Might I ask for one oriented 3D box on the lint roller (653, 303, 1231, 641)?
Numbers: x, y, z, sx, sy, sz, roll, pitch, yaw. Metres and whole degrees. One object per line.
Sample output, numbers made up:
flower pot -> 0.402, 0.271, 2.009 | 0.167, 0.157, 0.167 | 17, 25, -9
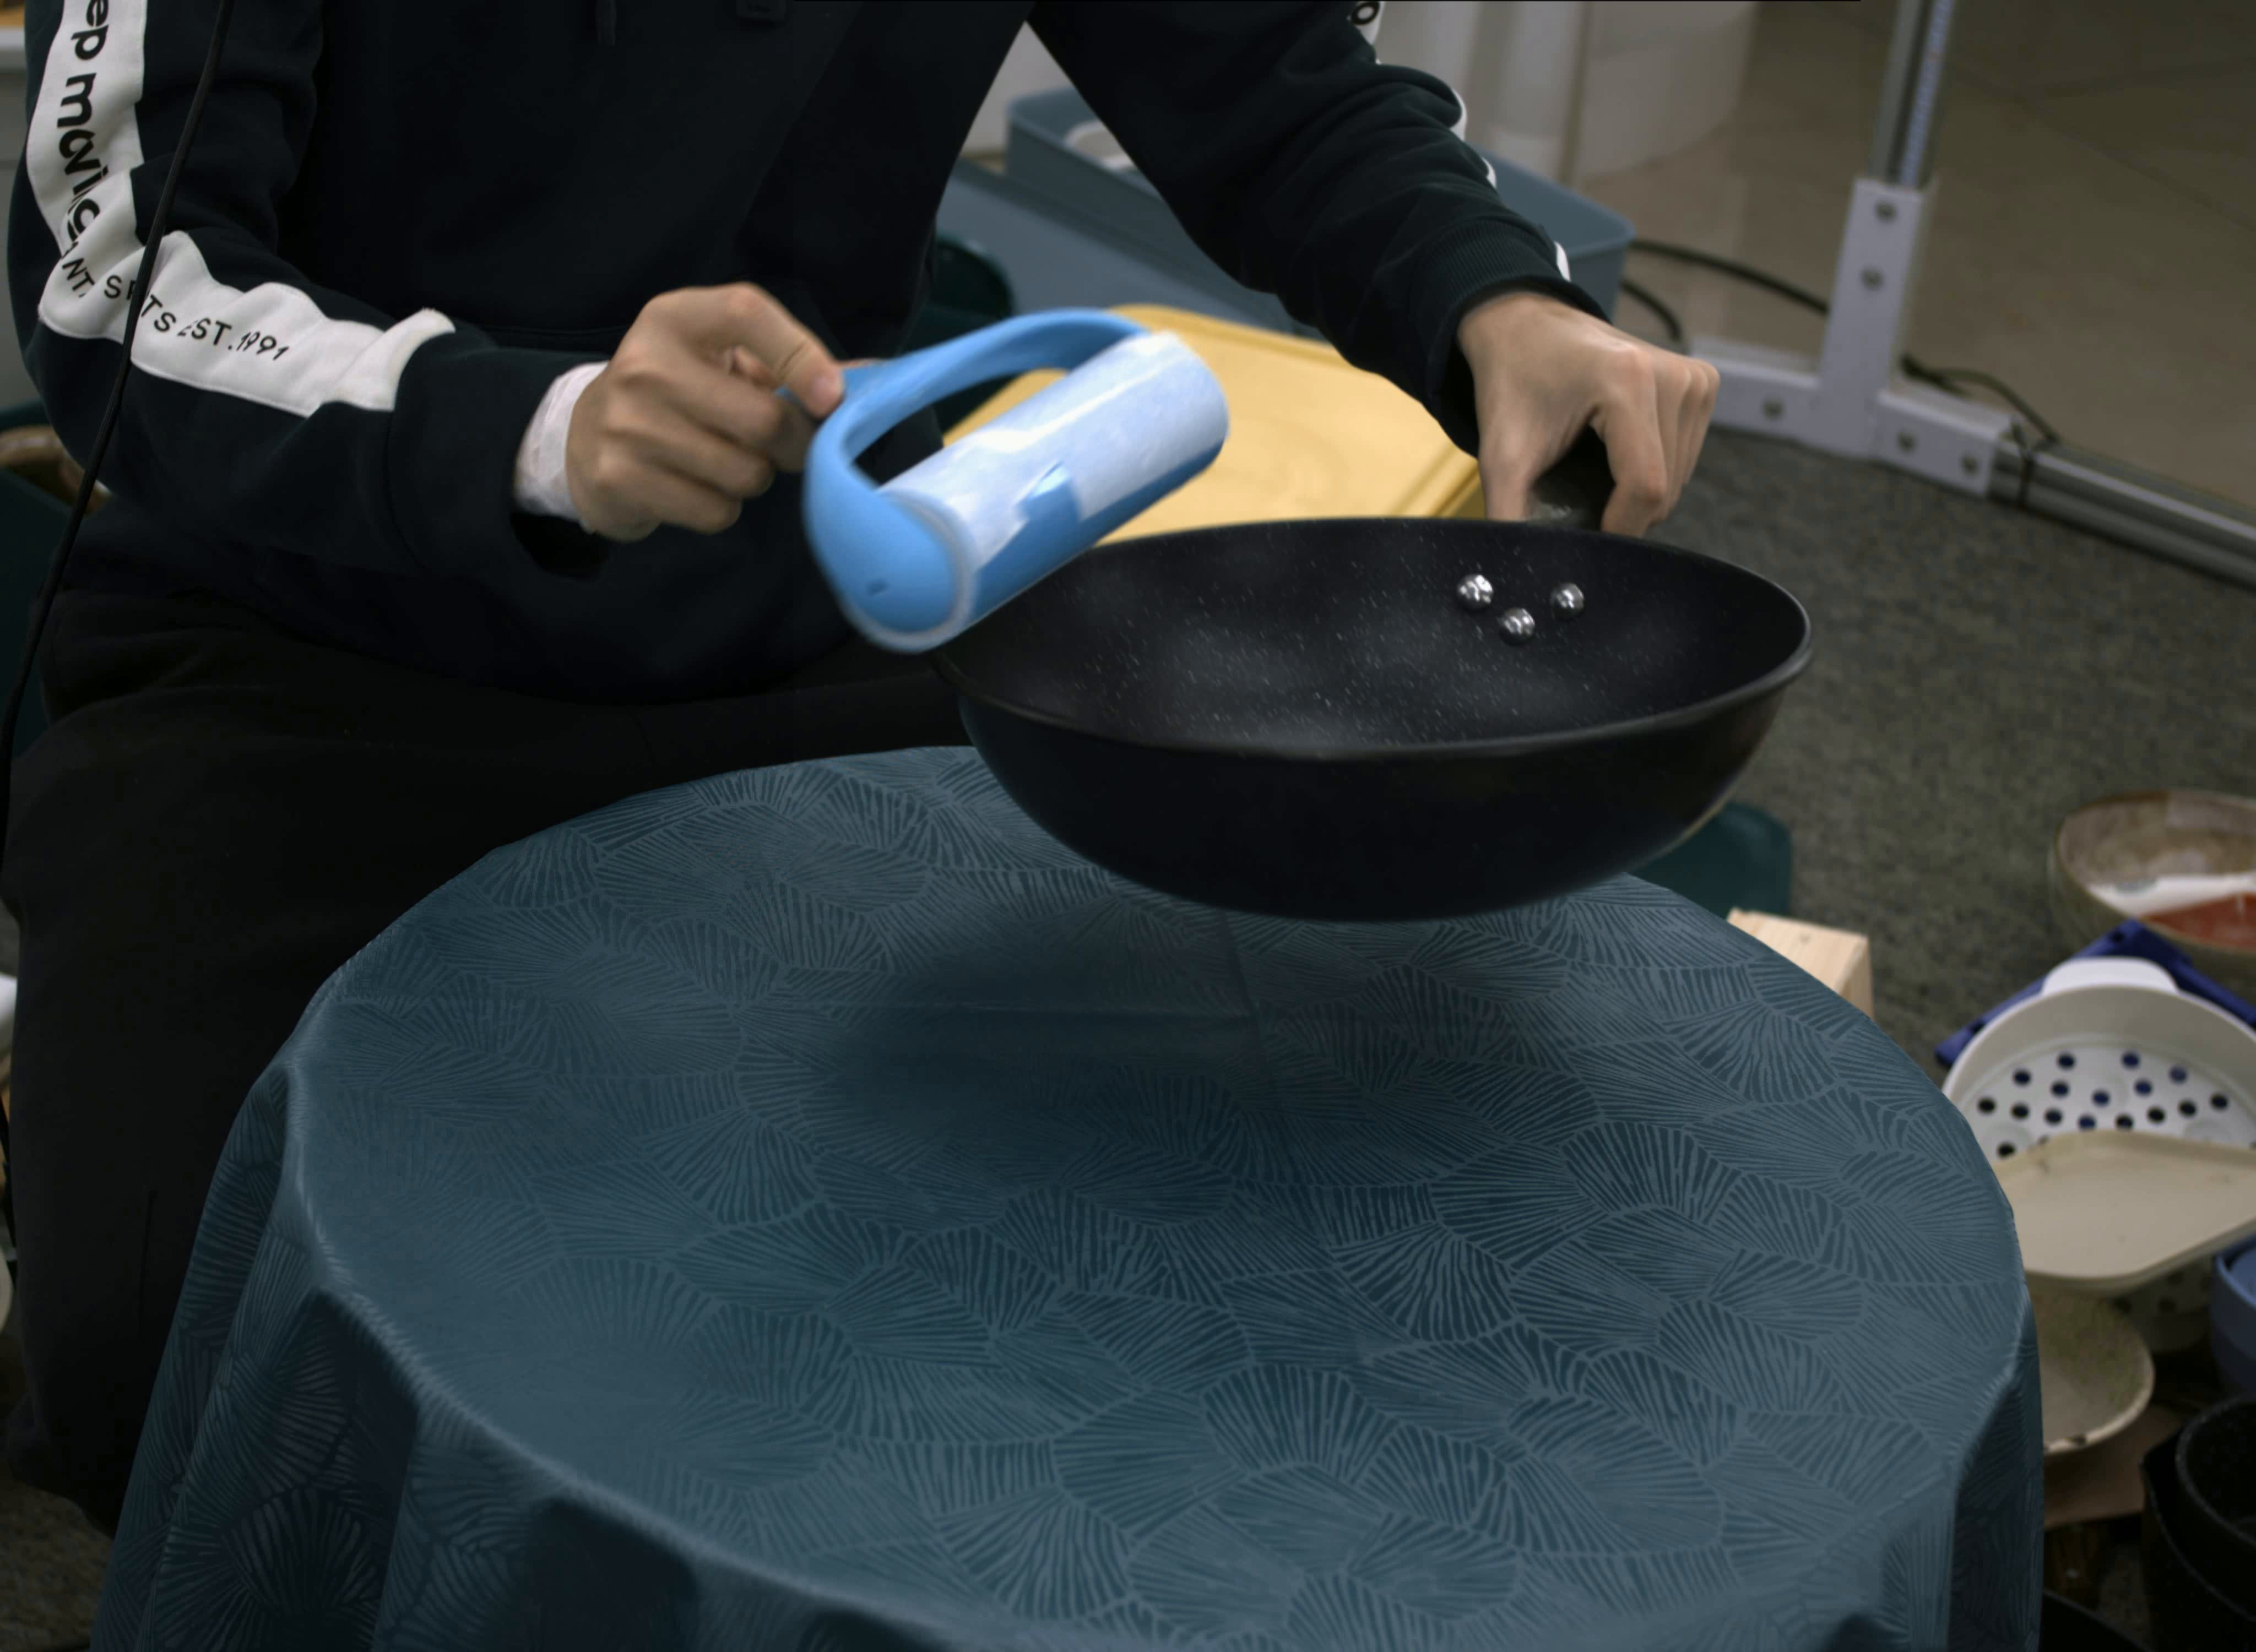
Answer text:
lint roller -> -0.080, -0.124, 1.793 | 0.180, 0.068, 0.229 | 6, 24, 19

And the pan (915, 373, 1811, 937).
pan -> 0.116, -0.062, 1.921 | 0.311, 0.111, 0.476 | 8, 19, 24
